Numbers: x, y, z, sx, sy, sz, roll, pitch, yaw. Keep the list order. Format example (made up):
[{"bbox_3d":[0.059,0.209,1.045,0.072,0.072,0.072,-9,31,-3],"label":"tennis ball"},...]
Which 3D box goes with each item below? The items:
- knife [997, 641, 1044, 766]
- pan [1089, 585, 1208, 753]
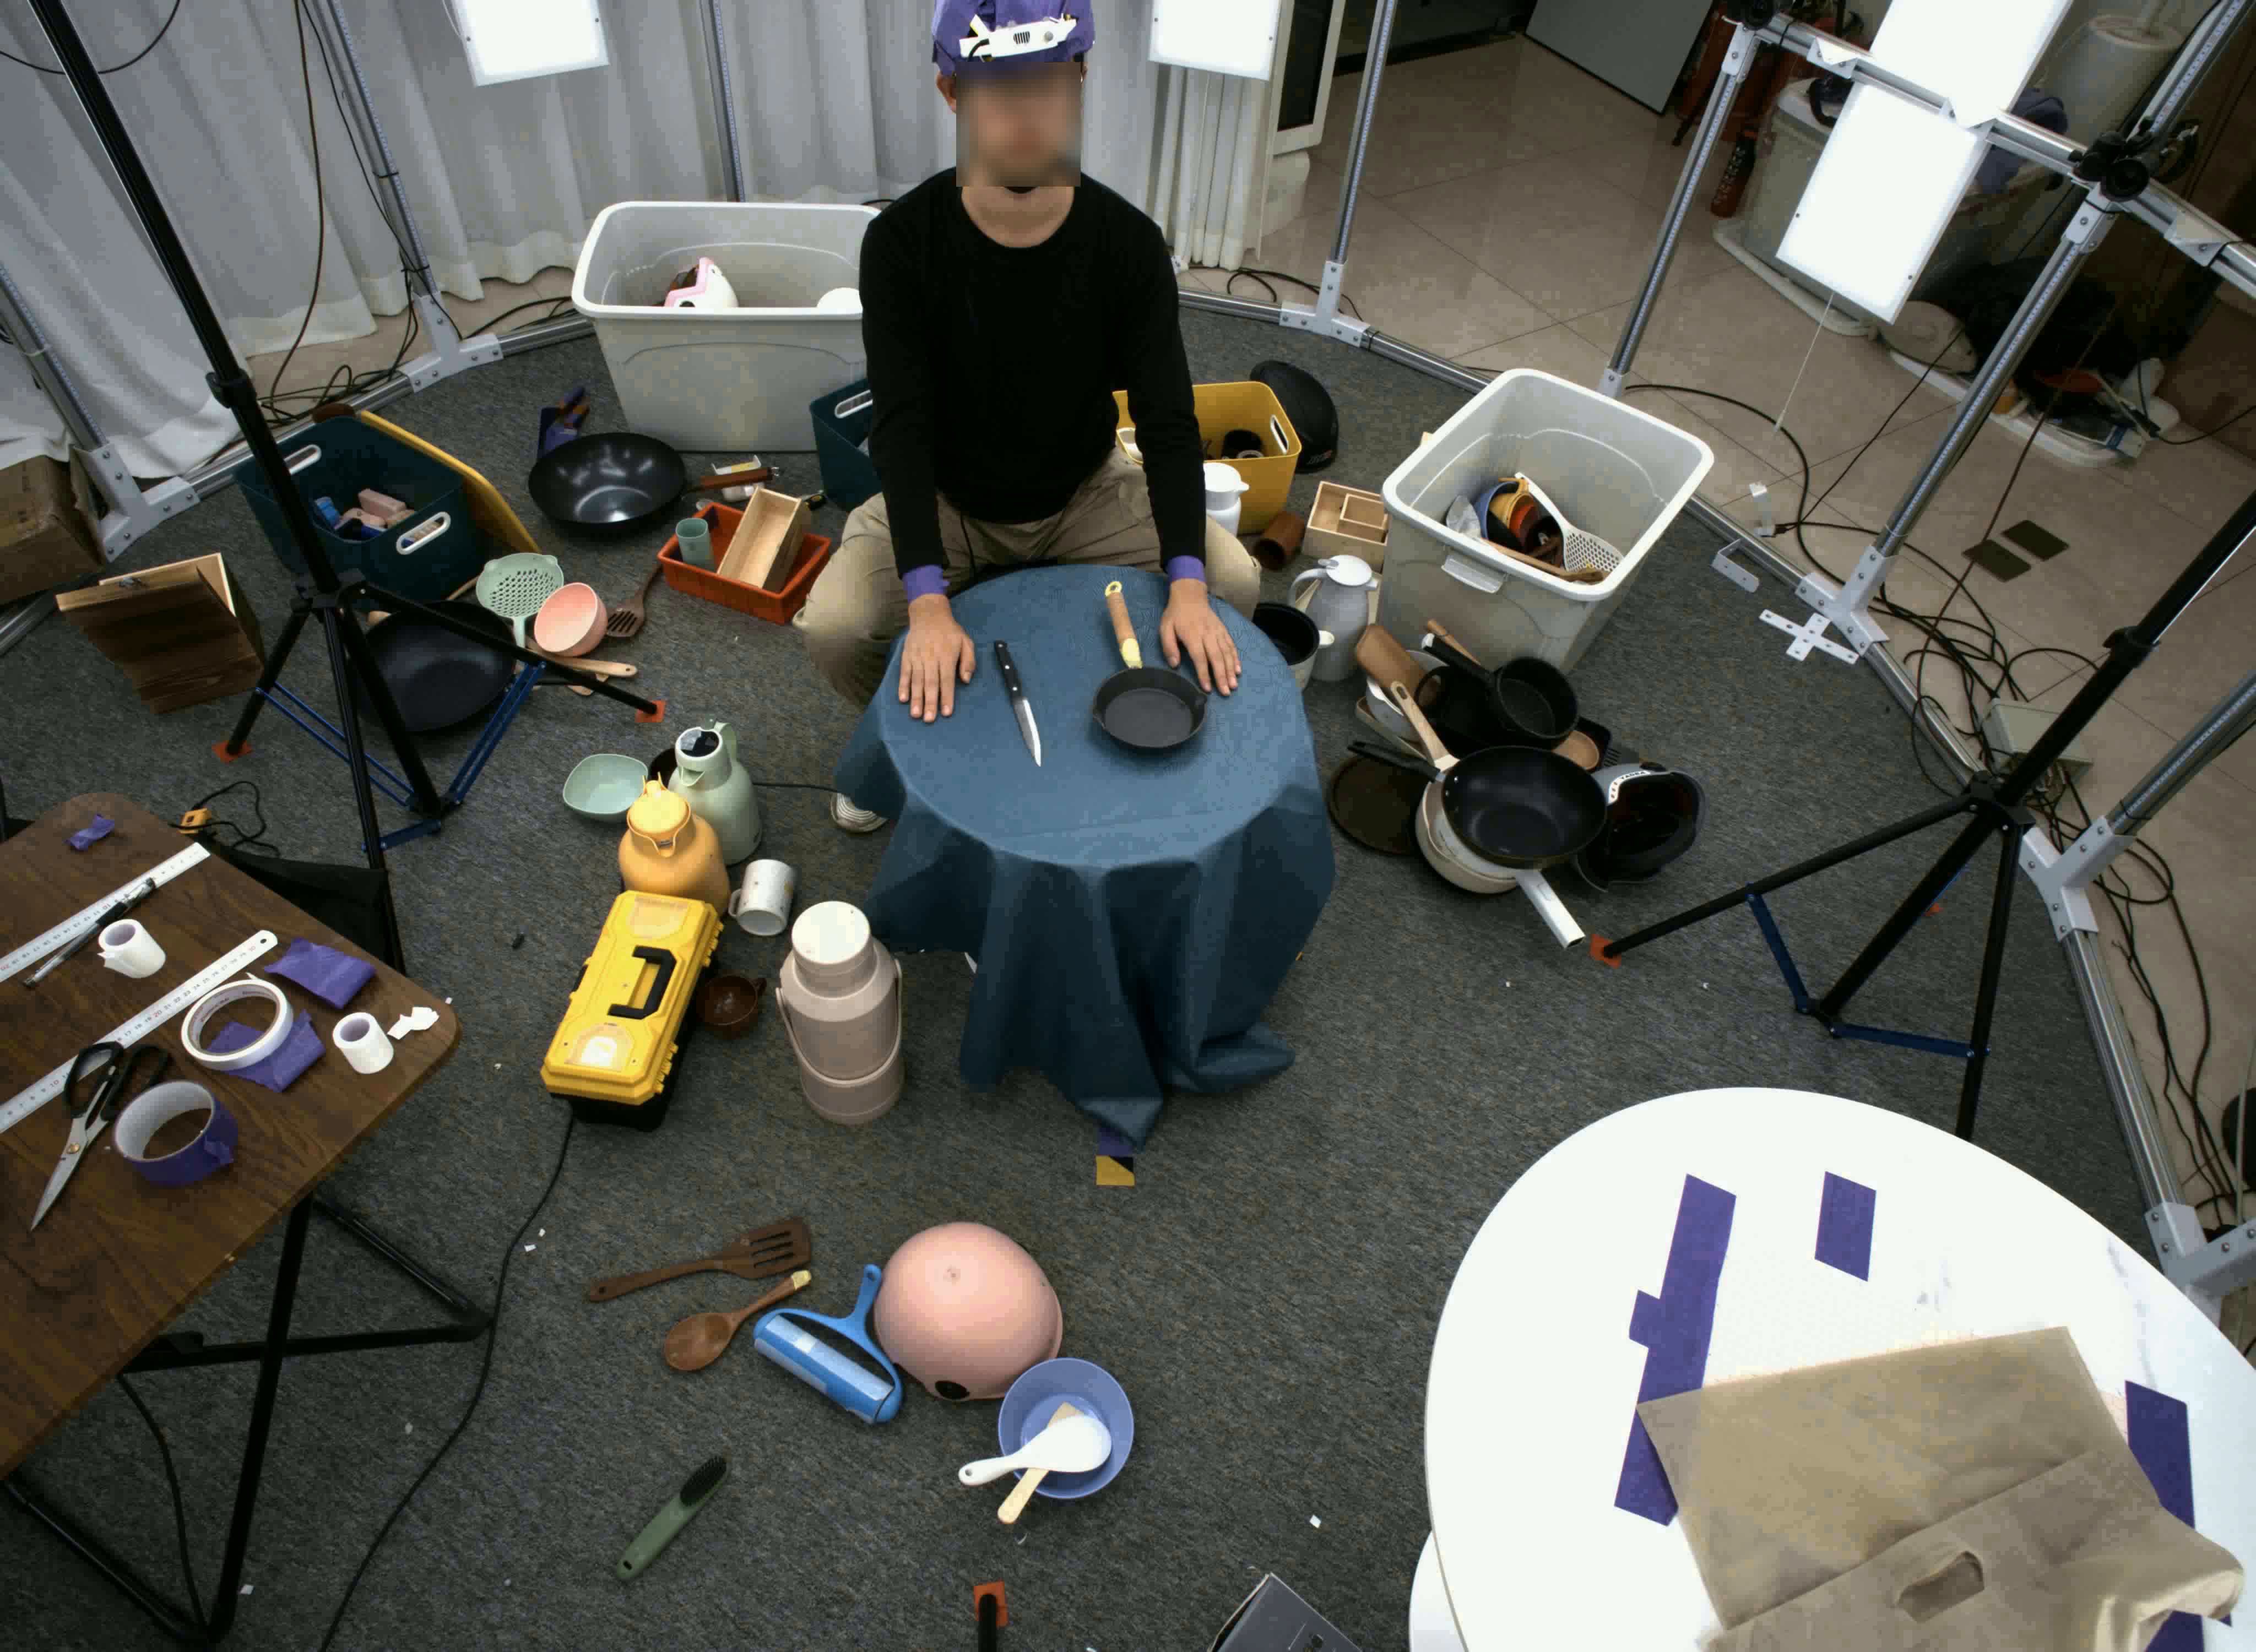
[{"bbox_3d":[-0.151,-0.173,1.803,0.024,0.016,0.244,-10,53,-13],"label":"knife"},{"bbox_3d":[0.013,-0.226,1.837,0.169,0.048,0.332,-7,49,-9],"label":"pan"}]
